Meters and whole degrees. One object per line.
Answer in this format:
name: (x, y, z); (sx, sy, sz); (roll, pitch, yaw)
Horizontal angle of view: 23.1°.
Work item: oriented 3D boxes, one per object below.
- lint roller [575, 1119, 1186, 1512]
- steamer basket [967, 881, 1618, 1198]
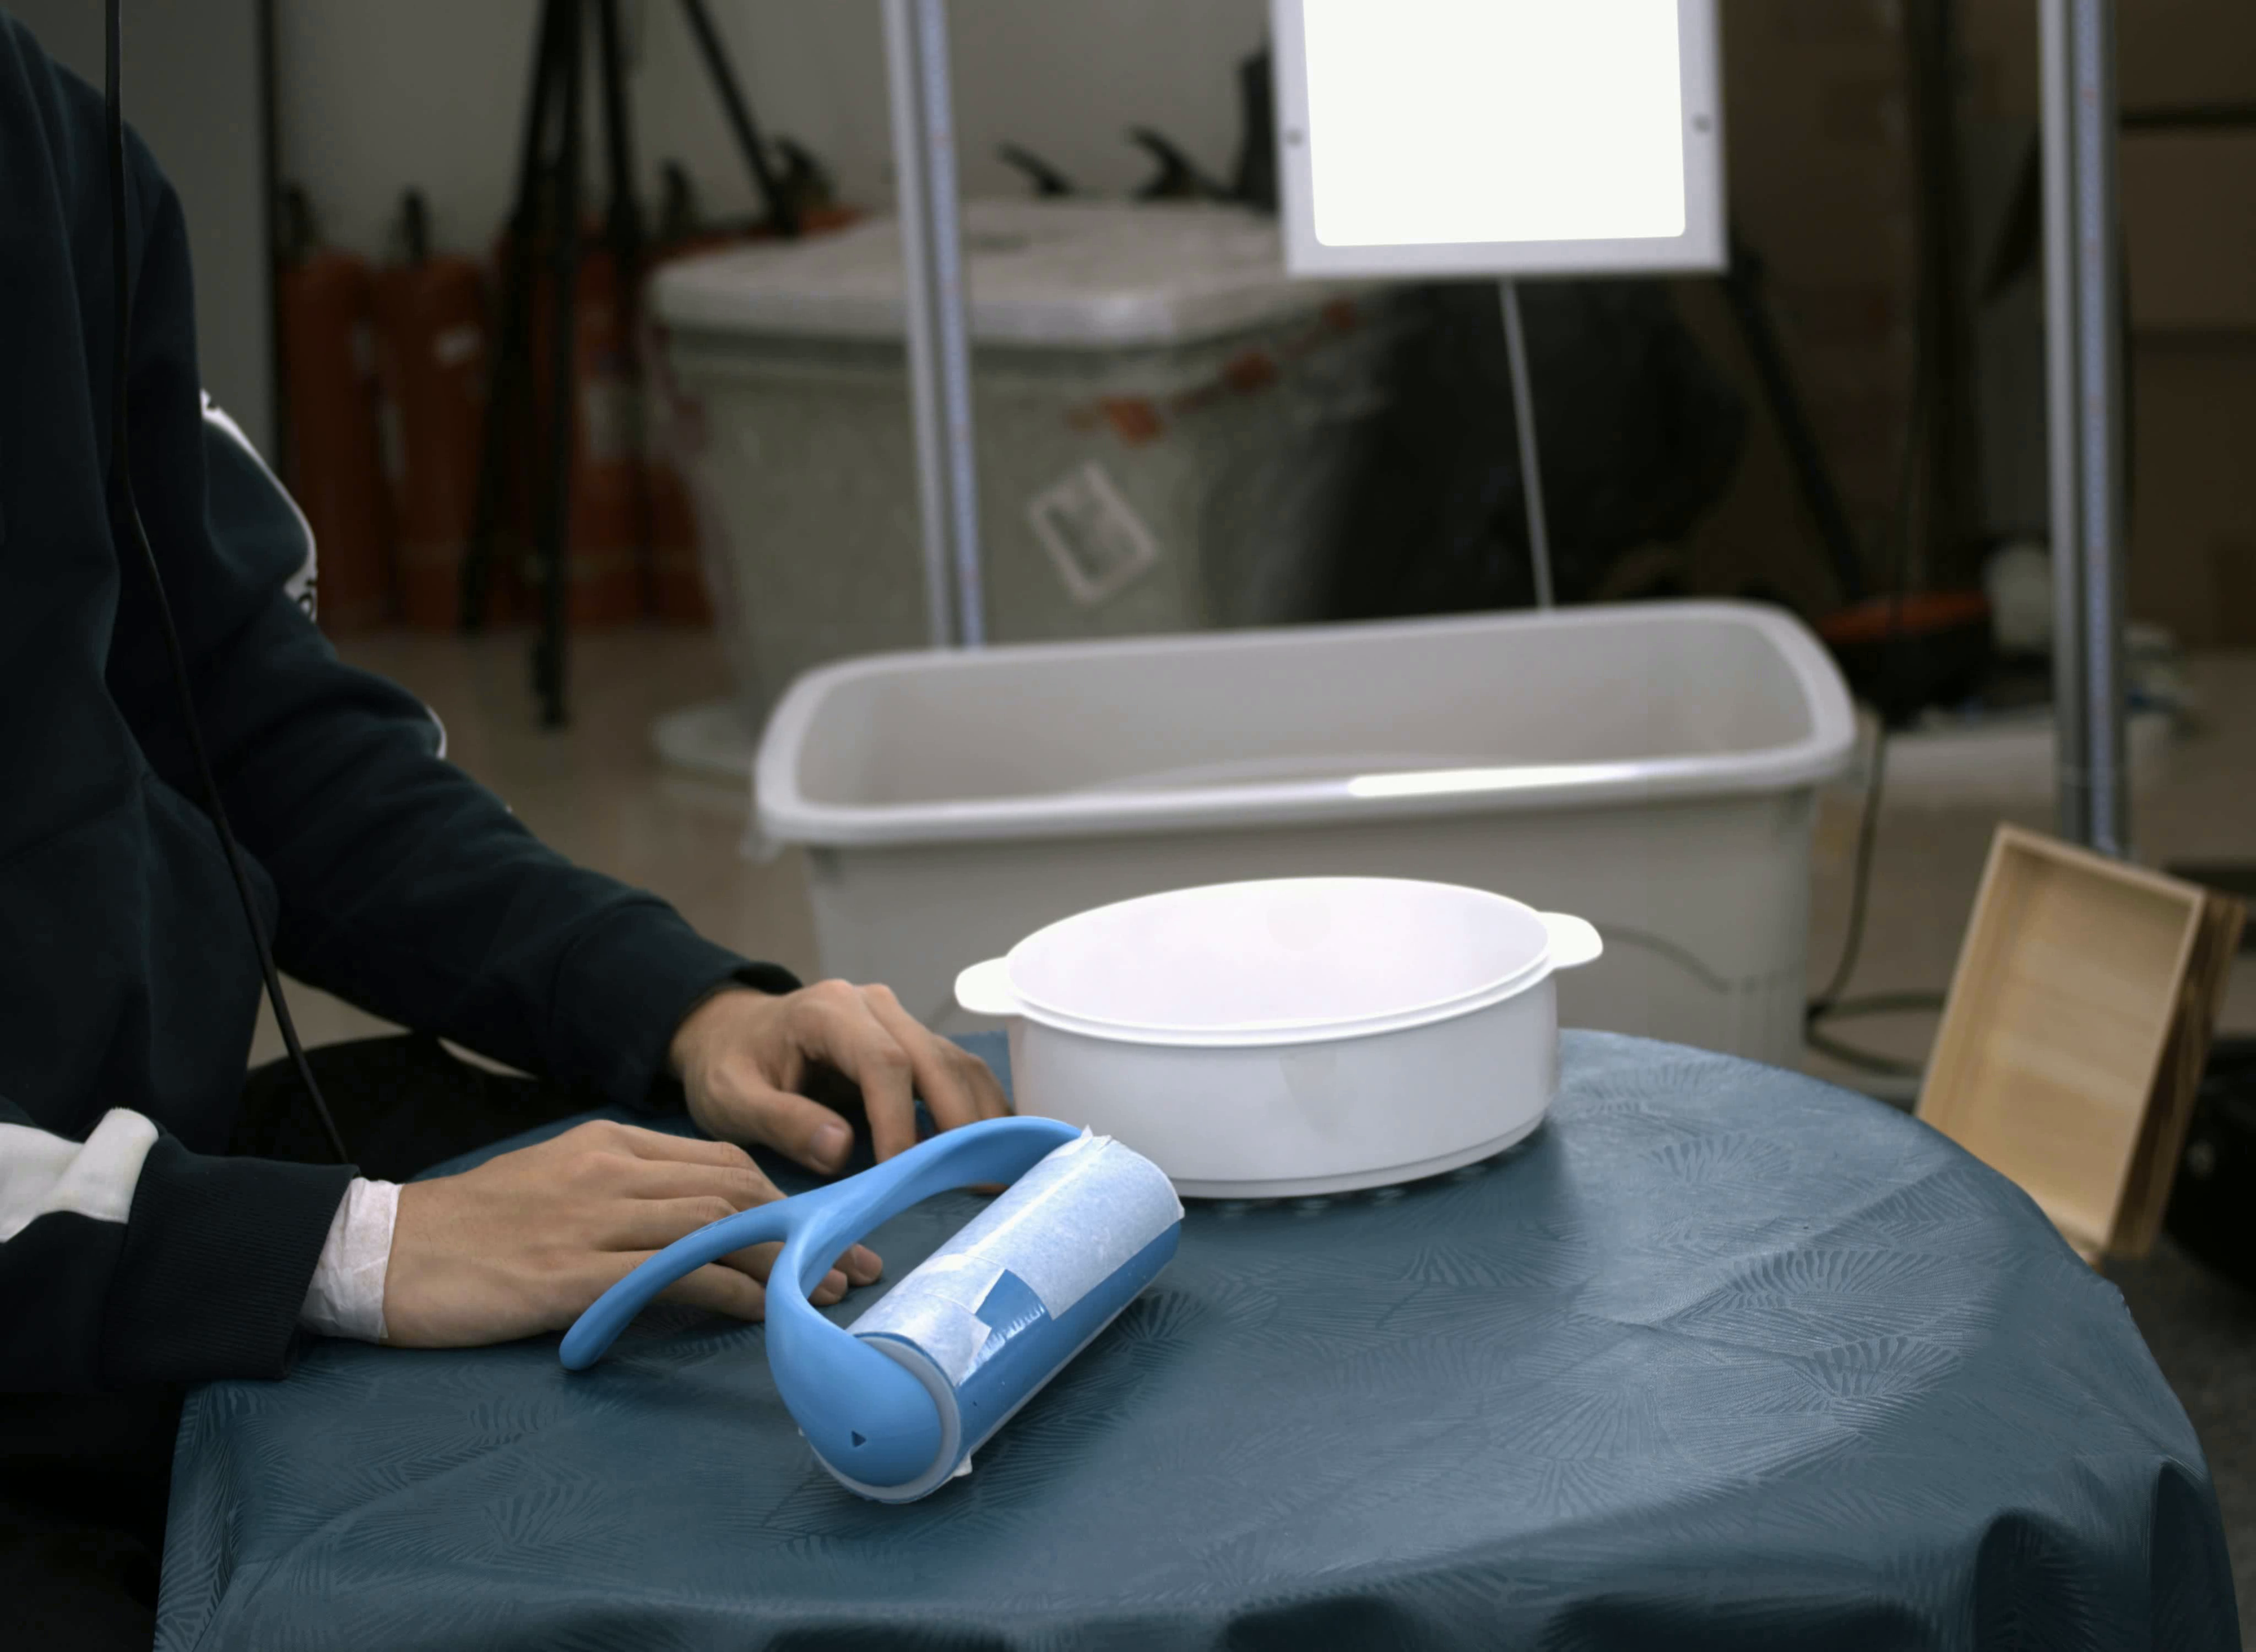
lint roller: (-0.092, 0.150, 1.721); (0.182, 0.068, 0.225); (0, 17, 17)
steamer basket: (0.060, 0.076, 1.939); (0.230, 0.069, 0.202); (-6, 13, 0)
